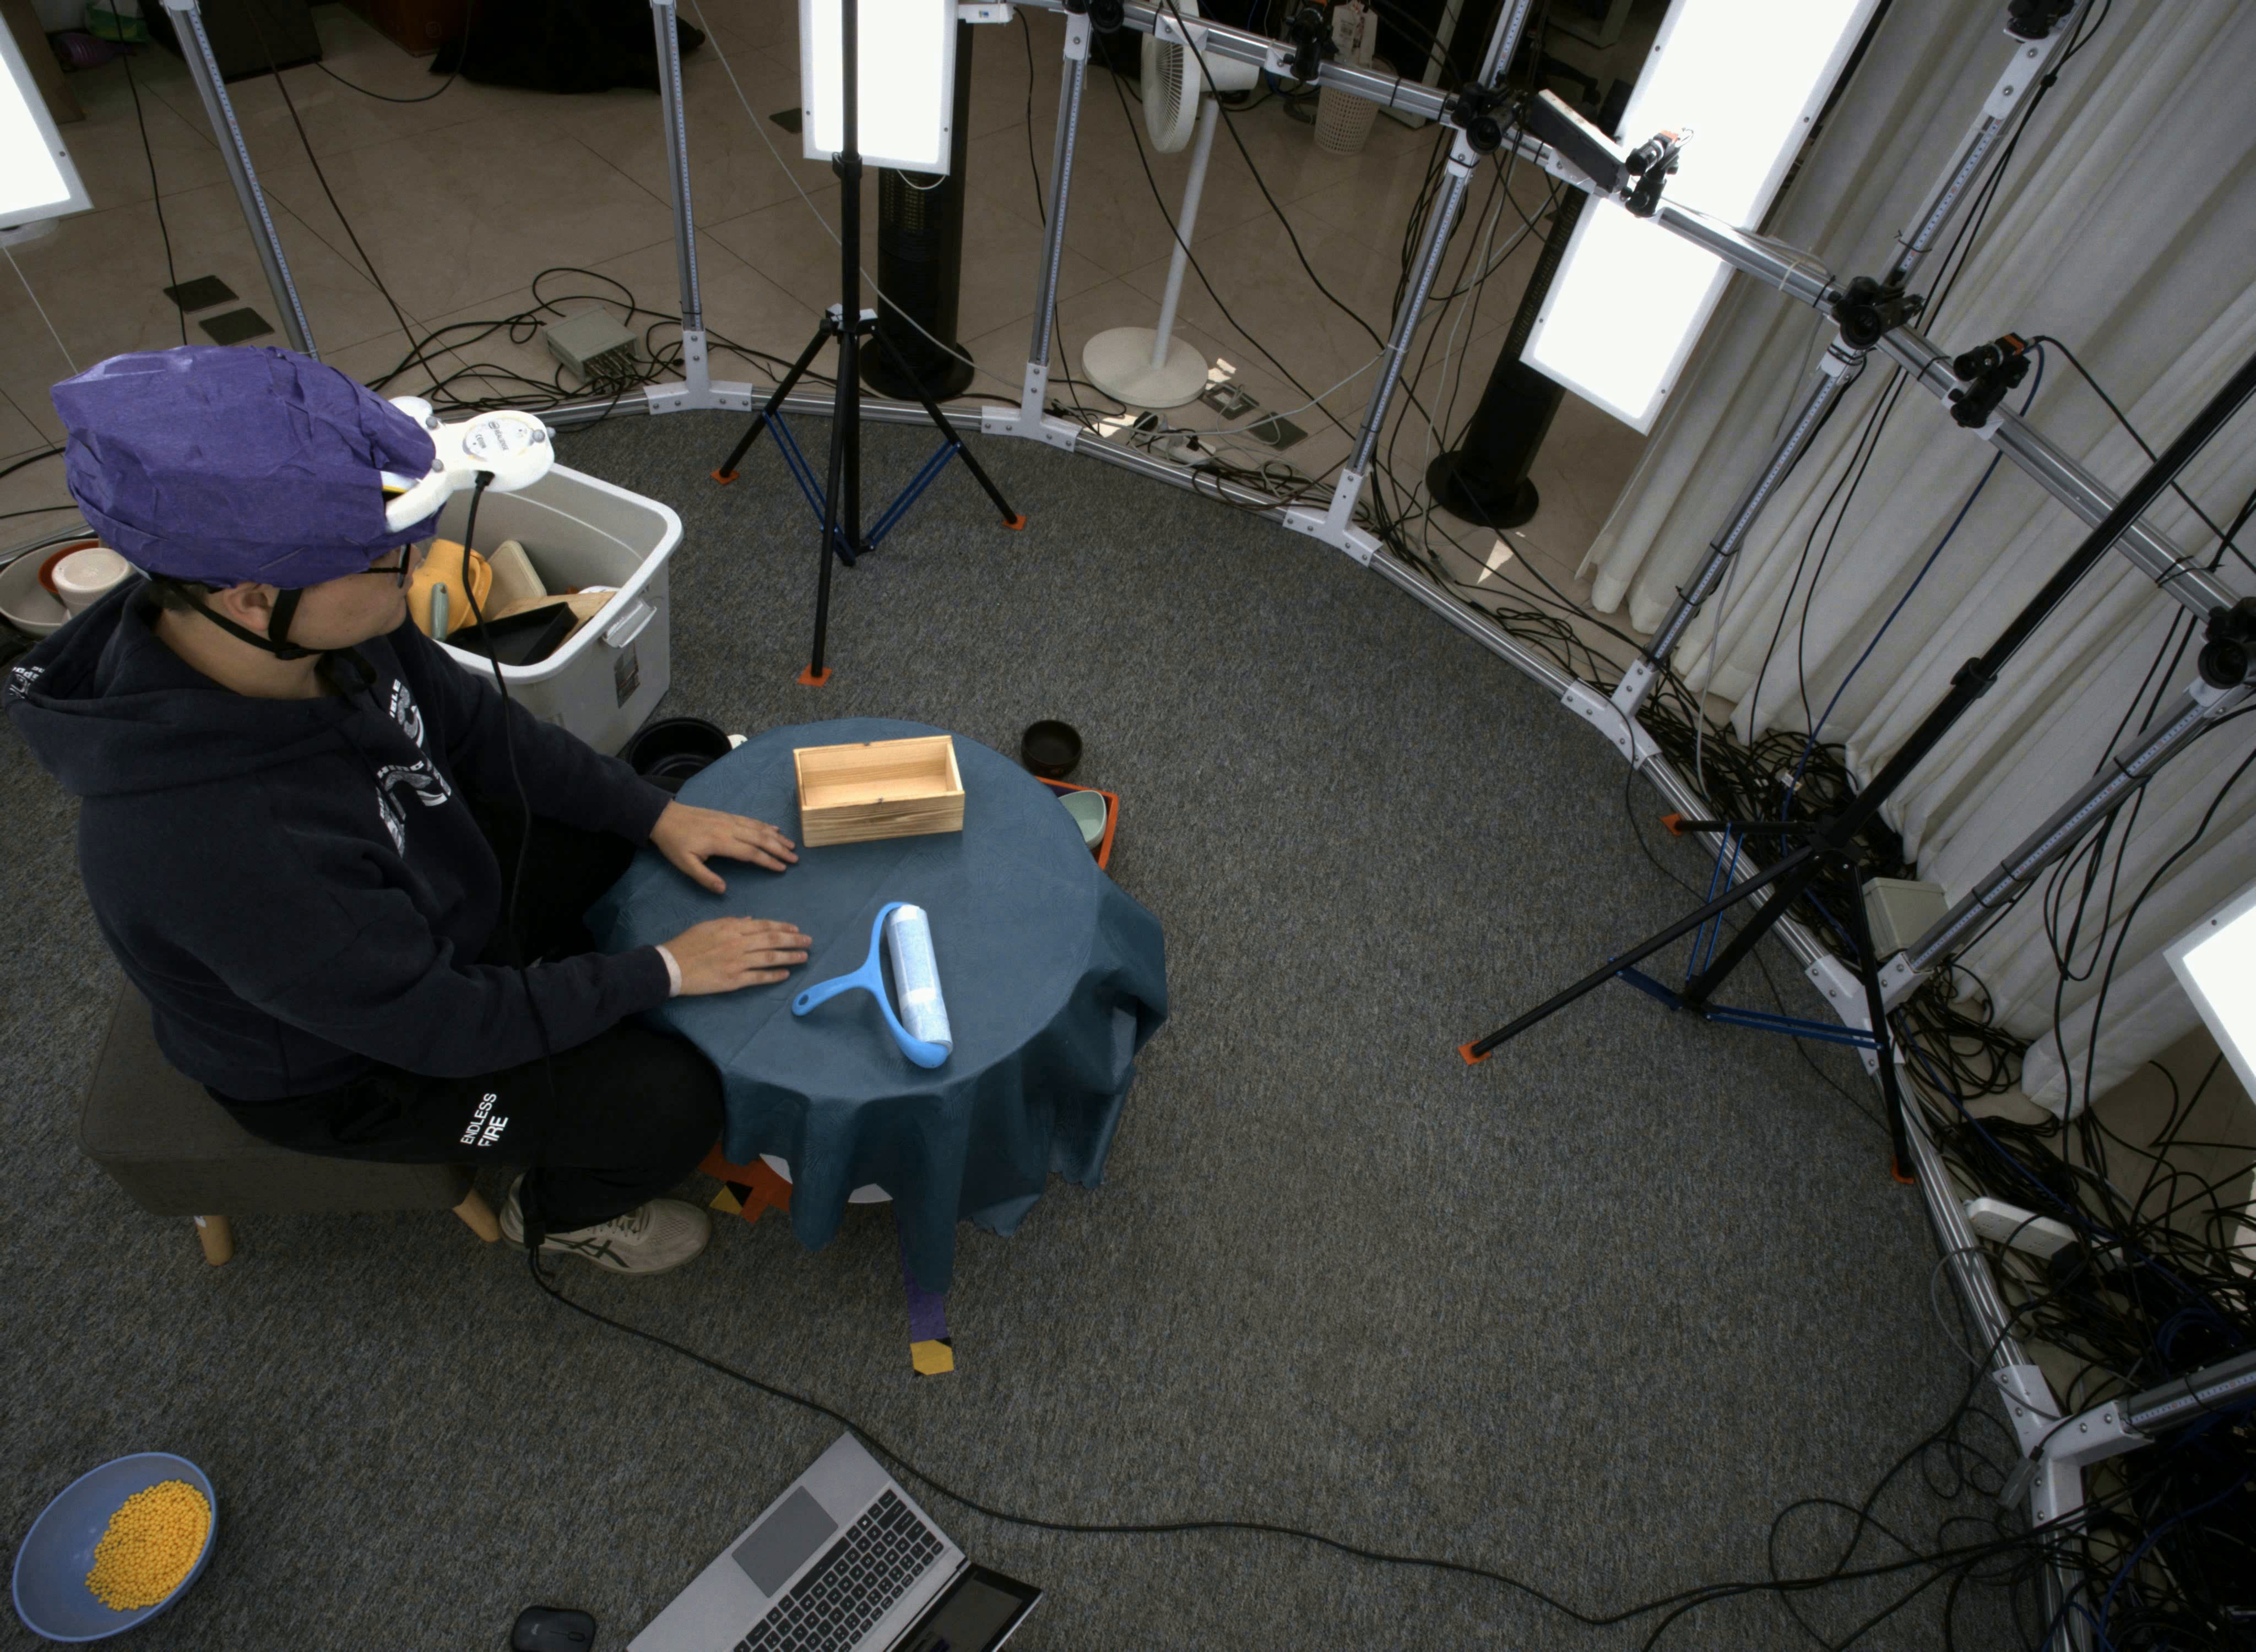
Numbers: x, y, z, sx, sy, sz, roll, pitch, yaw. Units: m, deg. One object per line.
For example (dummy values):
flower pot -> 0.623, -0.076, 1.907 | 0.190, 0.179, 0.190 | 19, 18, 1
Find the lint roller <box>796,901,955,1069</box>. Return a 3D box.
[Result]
lint roller -> -0.309, 0.195, 1.564 | 0.181, 0.069, 0.224 | -7, 57, -20

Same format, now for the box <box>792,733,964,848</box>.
box -> -0.333, -0.049, 1.728 | 0.212, 0.082, 0.105 | -7, 55, -18
